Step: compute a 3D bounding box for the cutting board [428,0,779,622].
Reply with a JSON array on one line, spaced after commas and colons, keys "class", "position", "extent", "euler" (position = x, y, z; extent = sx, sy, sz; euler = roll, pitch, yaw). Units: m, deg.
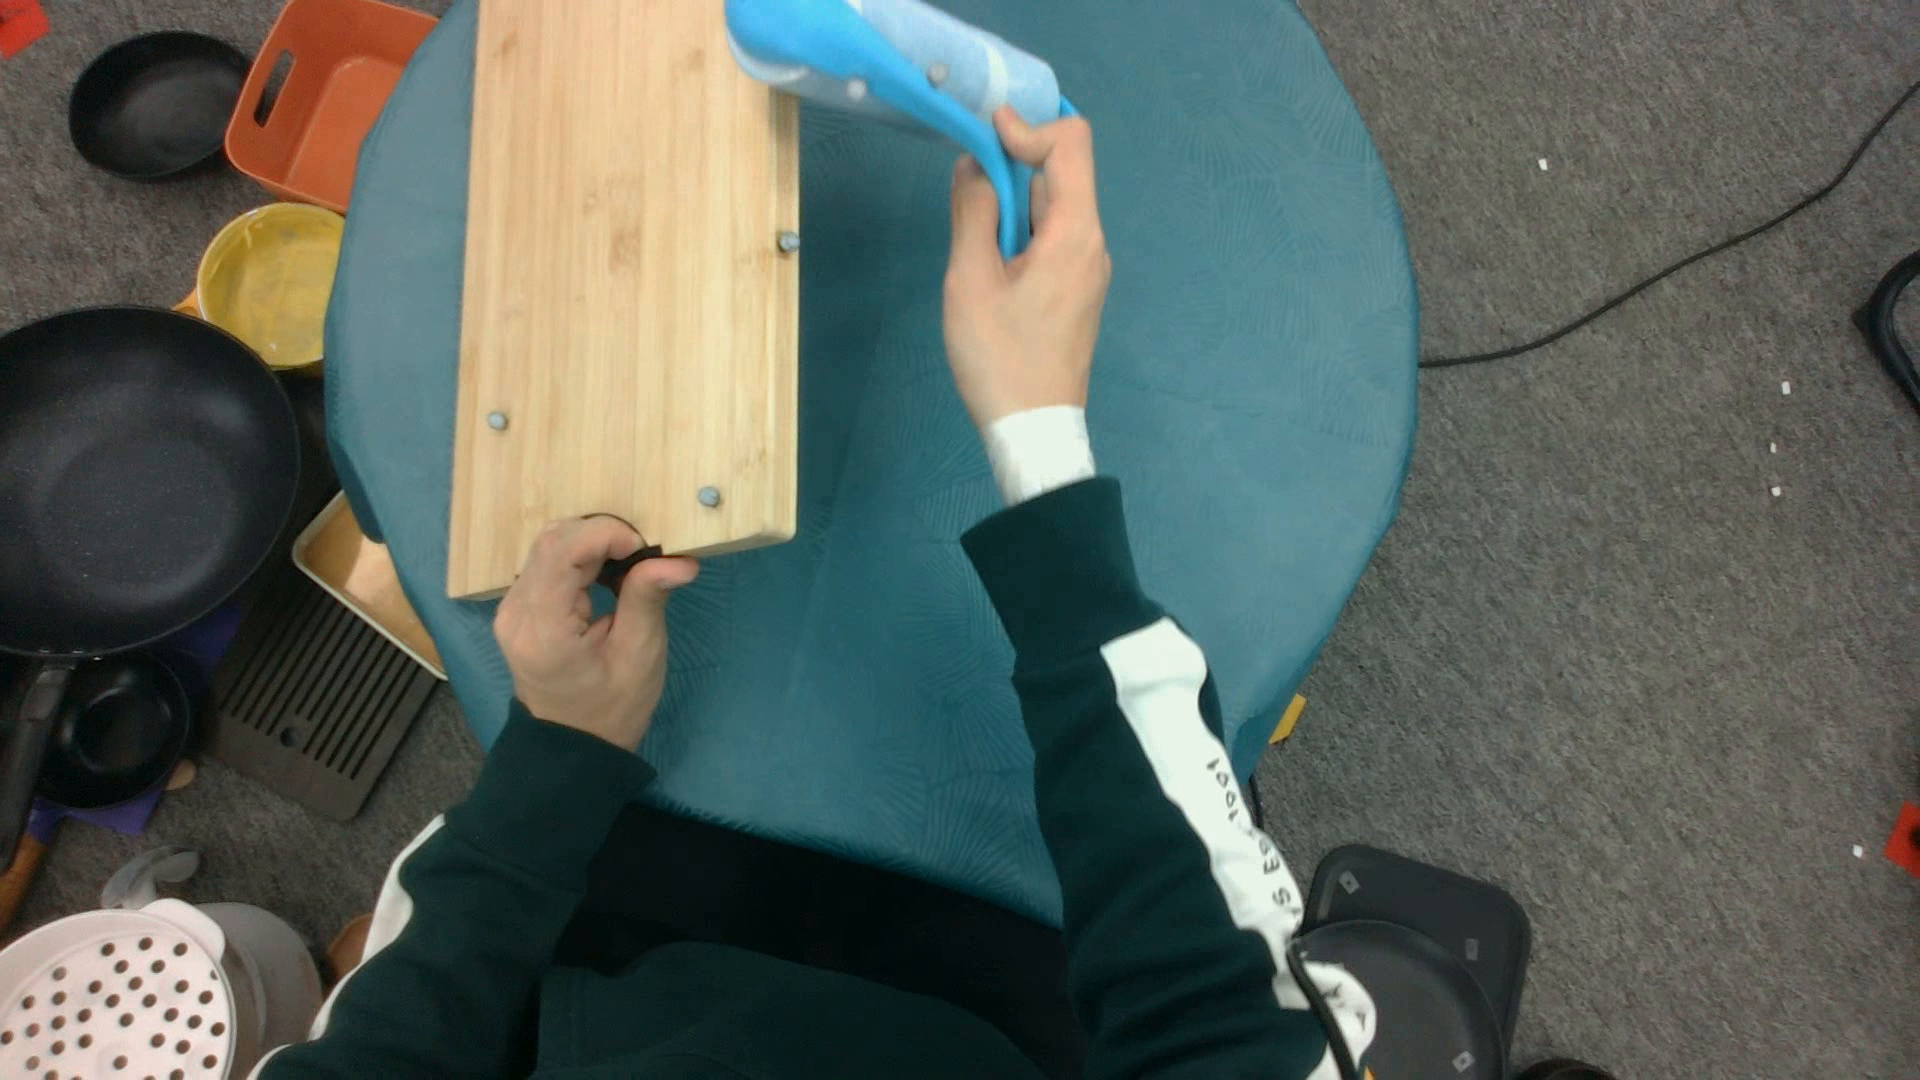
[{"class": "cutting board", "position": [-0.177, -0.147, 0.651], "extent": [0.023, 0.250, 0.349], "euler": [10, 73, -49]}]

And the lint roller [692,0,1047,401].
[{"class": "lint roller", "position": [-0.014, -0.156, 0.613], "extent": [0.067, 0.229, 0.180], "euler": [-24, 86, 28]}]
